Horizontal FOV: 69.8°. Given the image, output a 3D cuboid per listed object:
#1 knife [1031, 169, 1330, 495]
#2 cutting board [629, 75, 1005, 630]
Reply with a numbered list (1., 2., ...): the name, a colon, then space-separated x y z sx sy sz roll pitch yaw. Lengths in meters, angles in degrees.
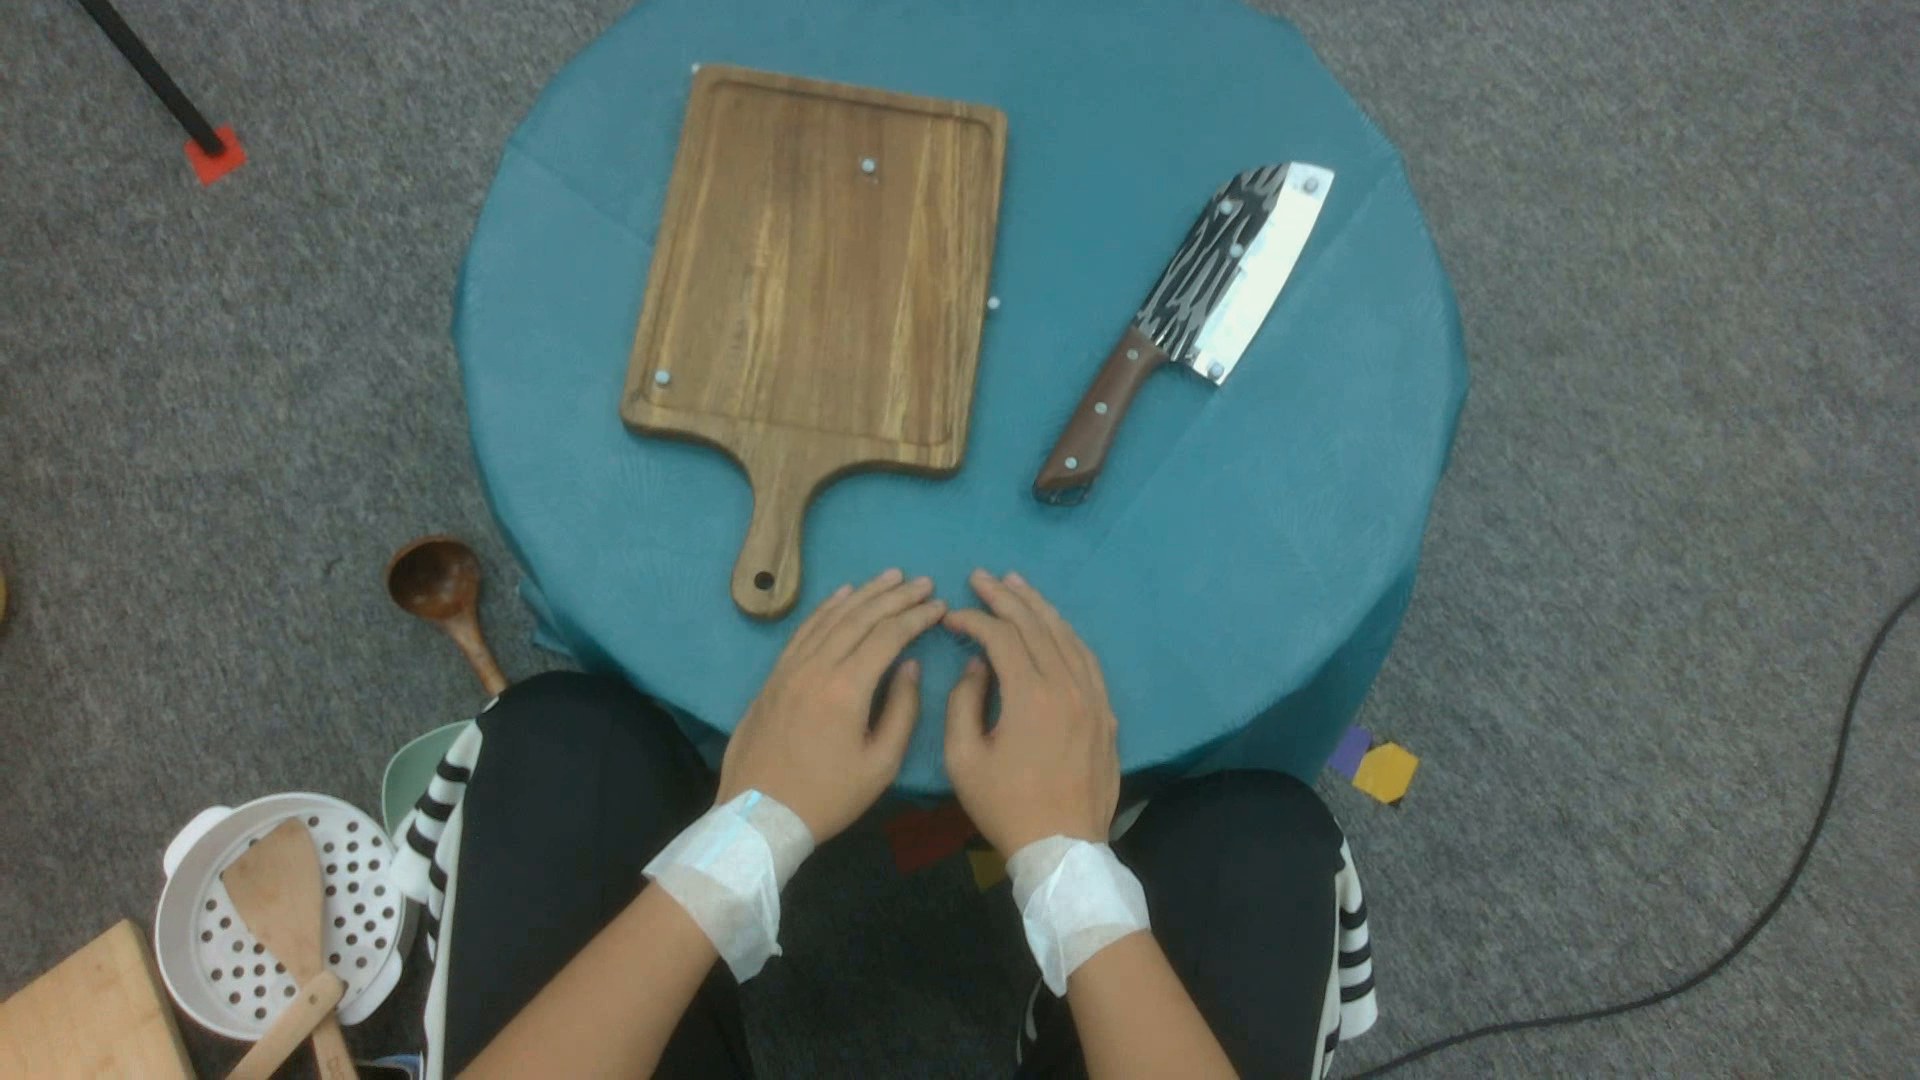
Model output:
1. knife: 0.142 -0.131 0.842 0.068 0.024 0.300 33 69 5
2. cutting board: -0.086 -0.118 0.820 0.201 0.023 0.353 8 71 -1
